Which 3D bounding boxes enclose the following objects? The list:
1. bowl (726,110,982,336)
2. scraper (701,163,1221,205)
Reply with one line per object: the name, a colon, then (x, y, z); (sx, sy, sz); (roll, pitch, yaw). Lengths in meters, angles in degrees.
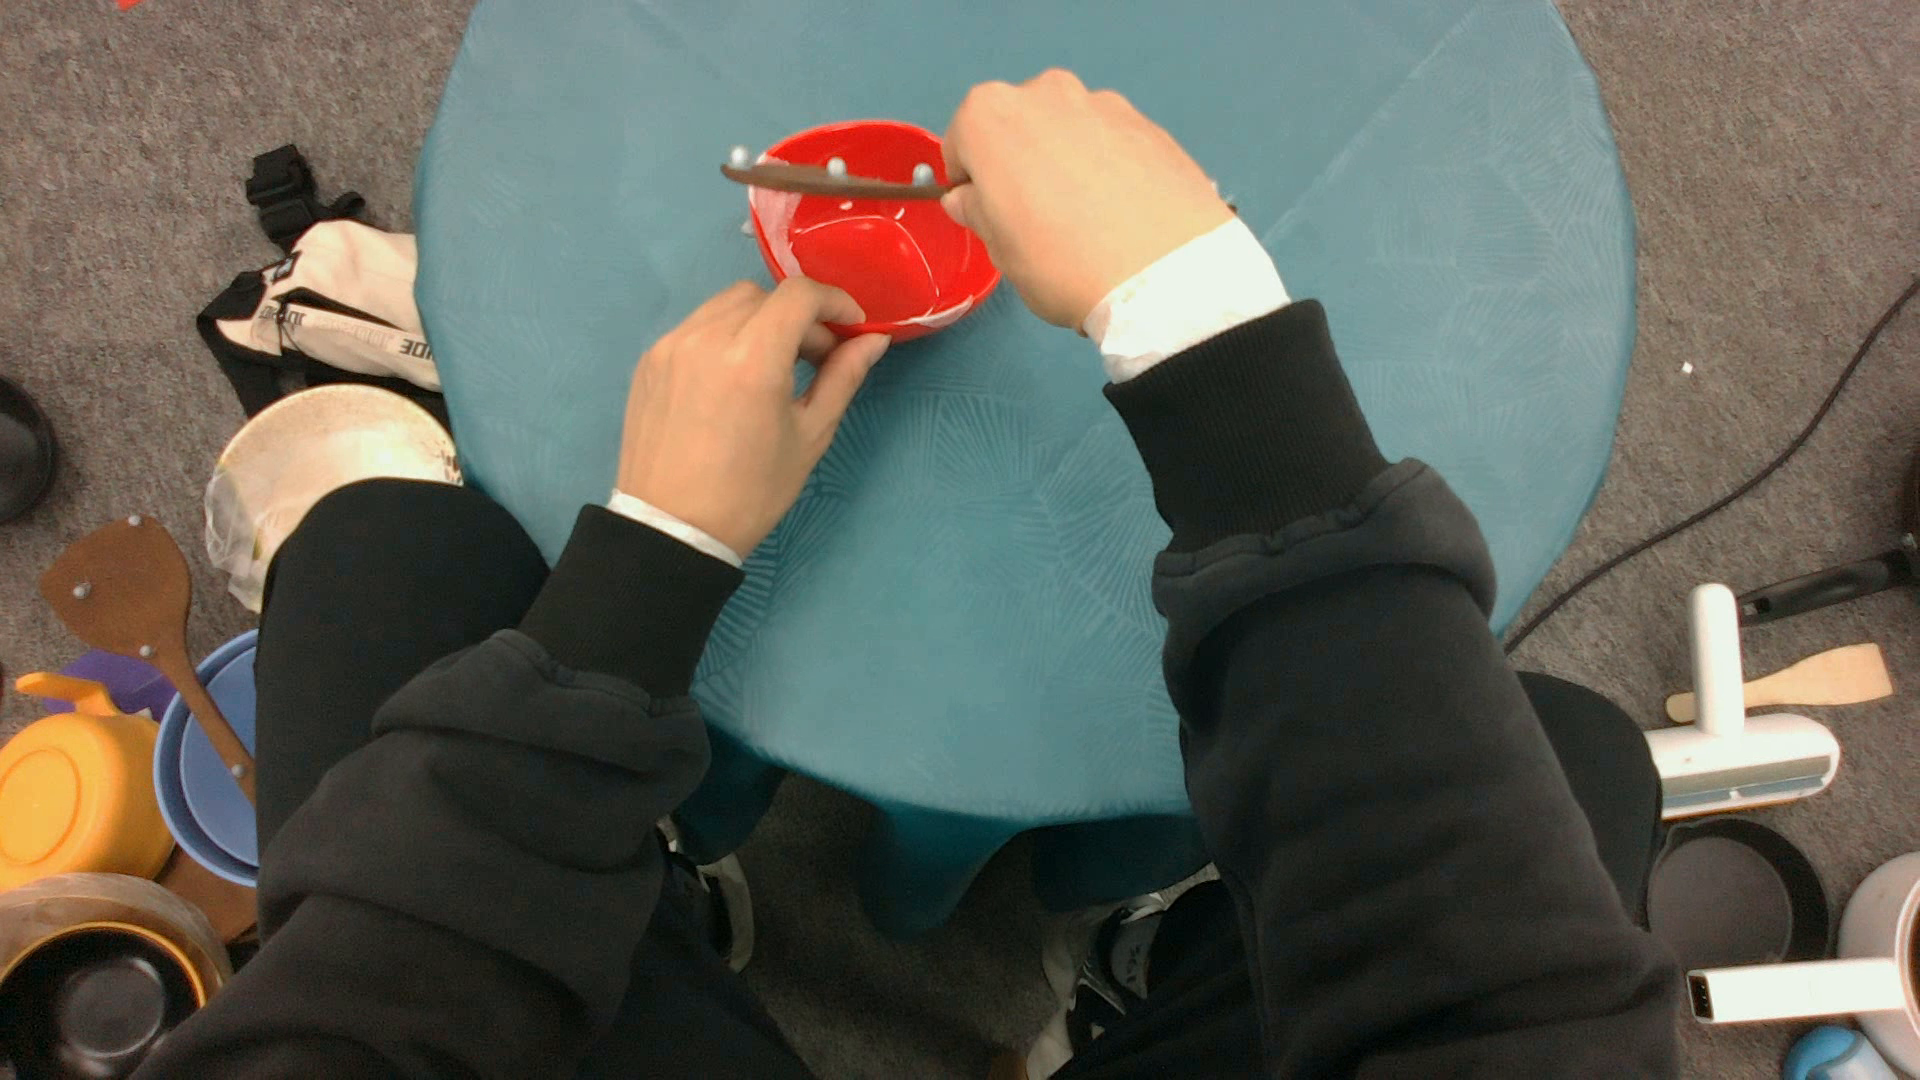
bowl: (-0.053, -0.137, 0.633); (0.119, 0.051, 0.119); (8, 63, -15)
scraper: (-0.002, -0.138, 0.538); (0.211, 0.076, 0.011); (10, 109, 27)
